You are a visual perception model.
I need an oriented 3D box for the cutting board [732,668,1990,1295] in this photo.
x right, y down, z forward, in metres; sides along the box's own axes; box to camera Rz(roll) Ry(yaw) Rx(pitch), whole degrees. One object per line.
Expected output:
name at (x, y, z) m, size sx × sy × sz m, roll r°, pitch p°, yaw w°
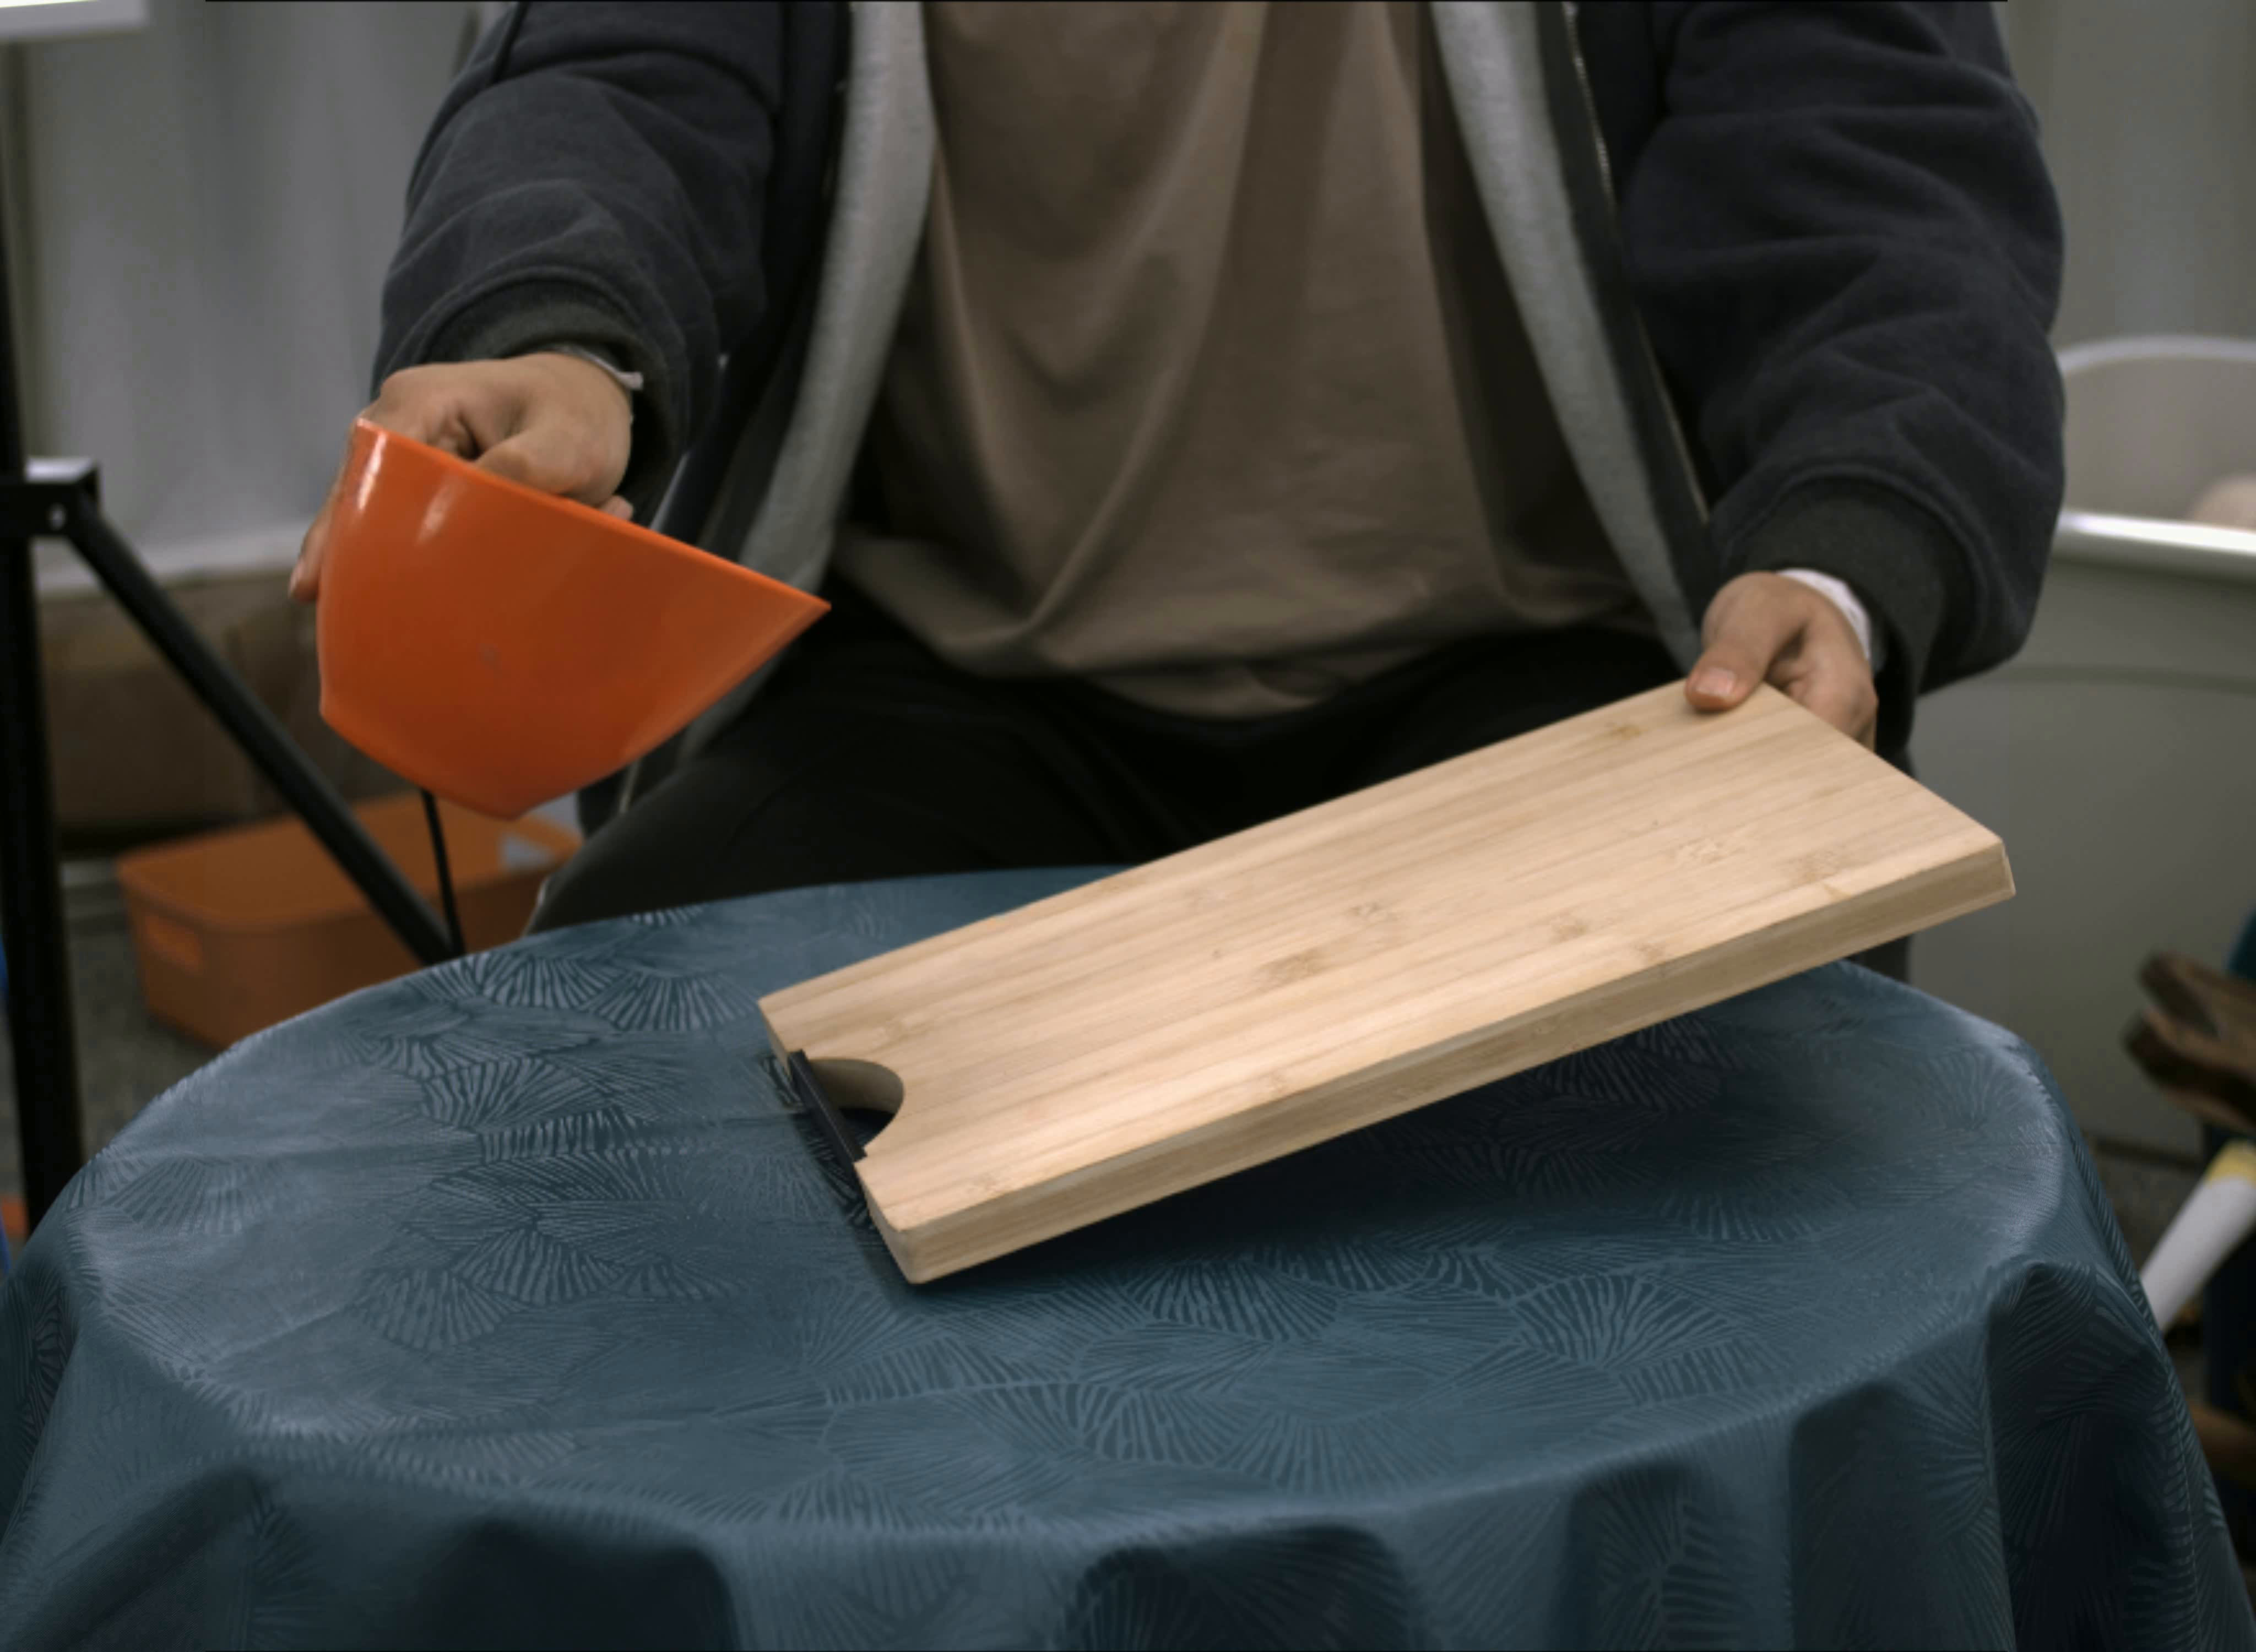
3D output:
cutting board at (0.063, 0.041, 1.611) m, size 0.345 × 0.023 × 0.254 m, roll -19°, pitch 17°, yaw -7°

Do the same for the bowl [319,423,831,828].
bowl at (-0.176, -0.055, 1.571) m, size 0.147 × 0.105 × 0.148 m, roll 28°, pitch 9°, yaw -6°
